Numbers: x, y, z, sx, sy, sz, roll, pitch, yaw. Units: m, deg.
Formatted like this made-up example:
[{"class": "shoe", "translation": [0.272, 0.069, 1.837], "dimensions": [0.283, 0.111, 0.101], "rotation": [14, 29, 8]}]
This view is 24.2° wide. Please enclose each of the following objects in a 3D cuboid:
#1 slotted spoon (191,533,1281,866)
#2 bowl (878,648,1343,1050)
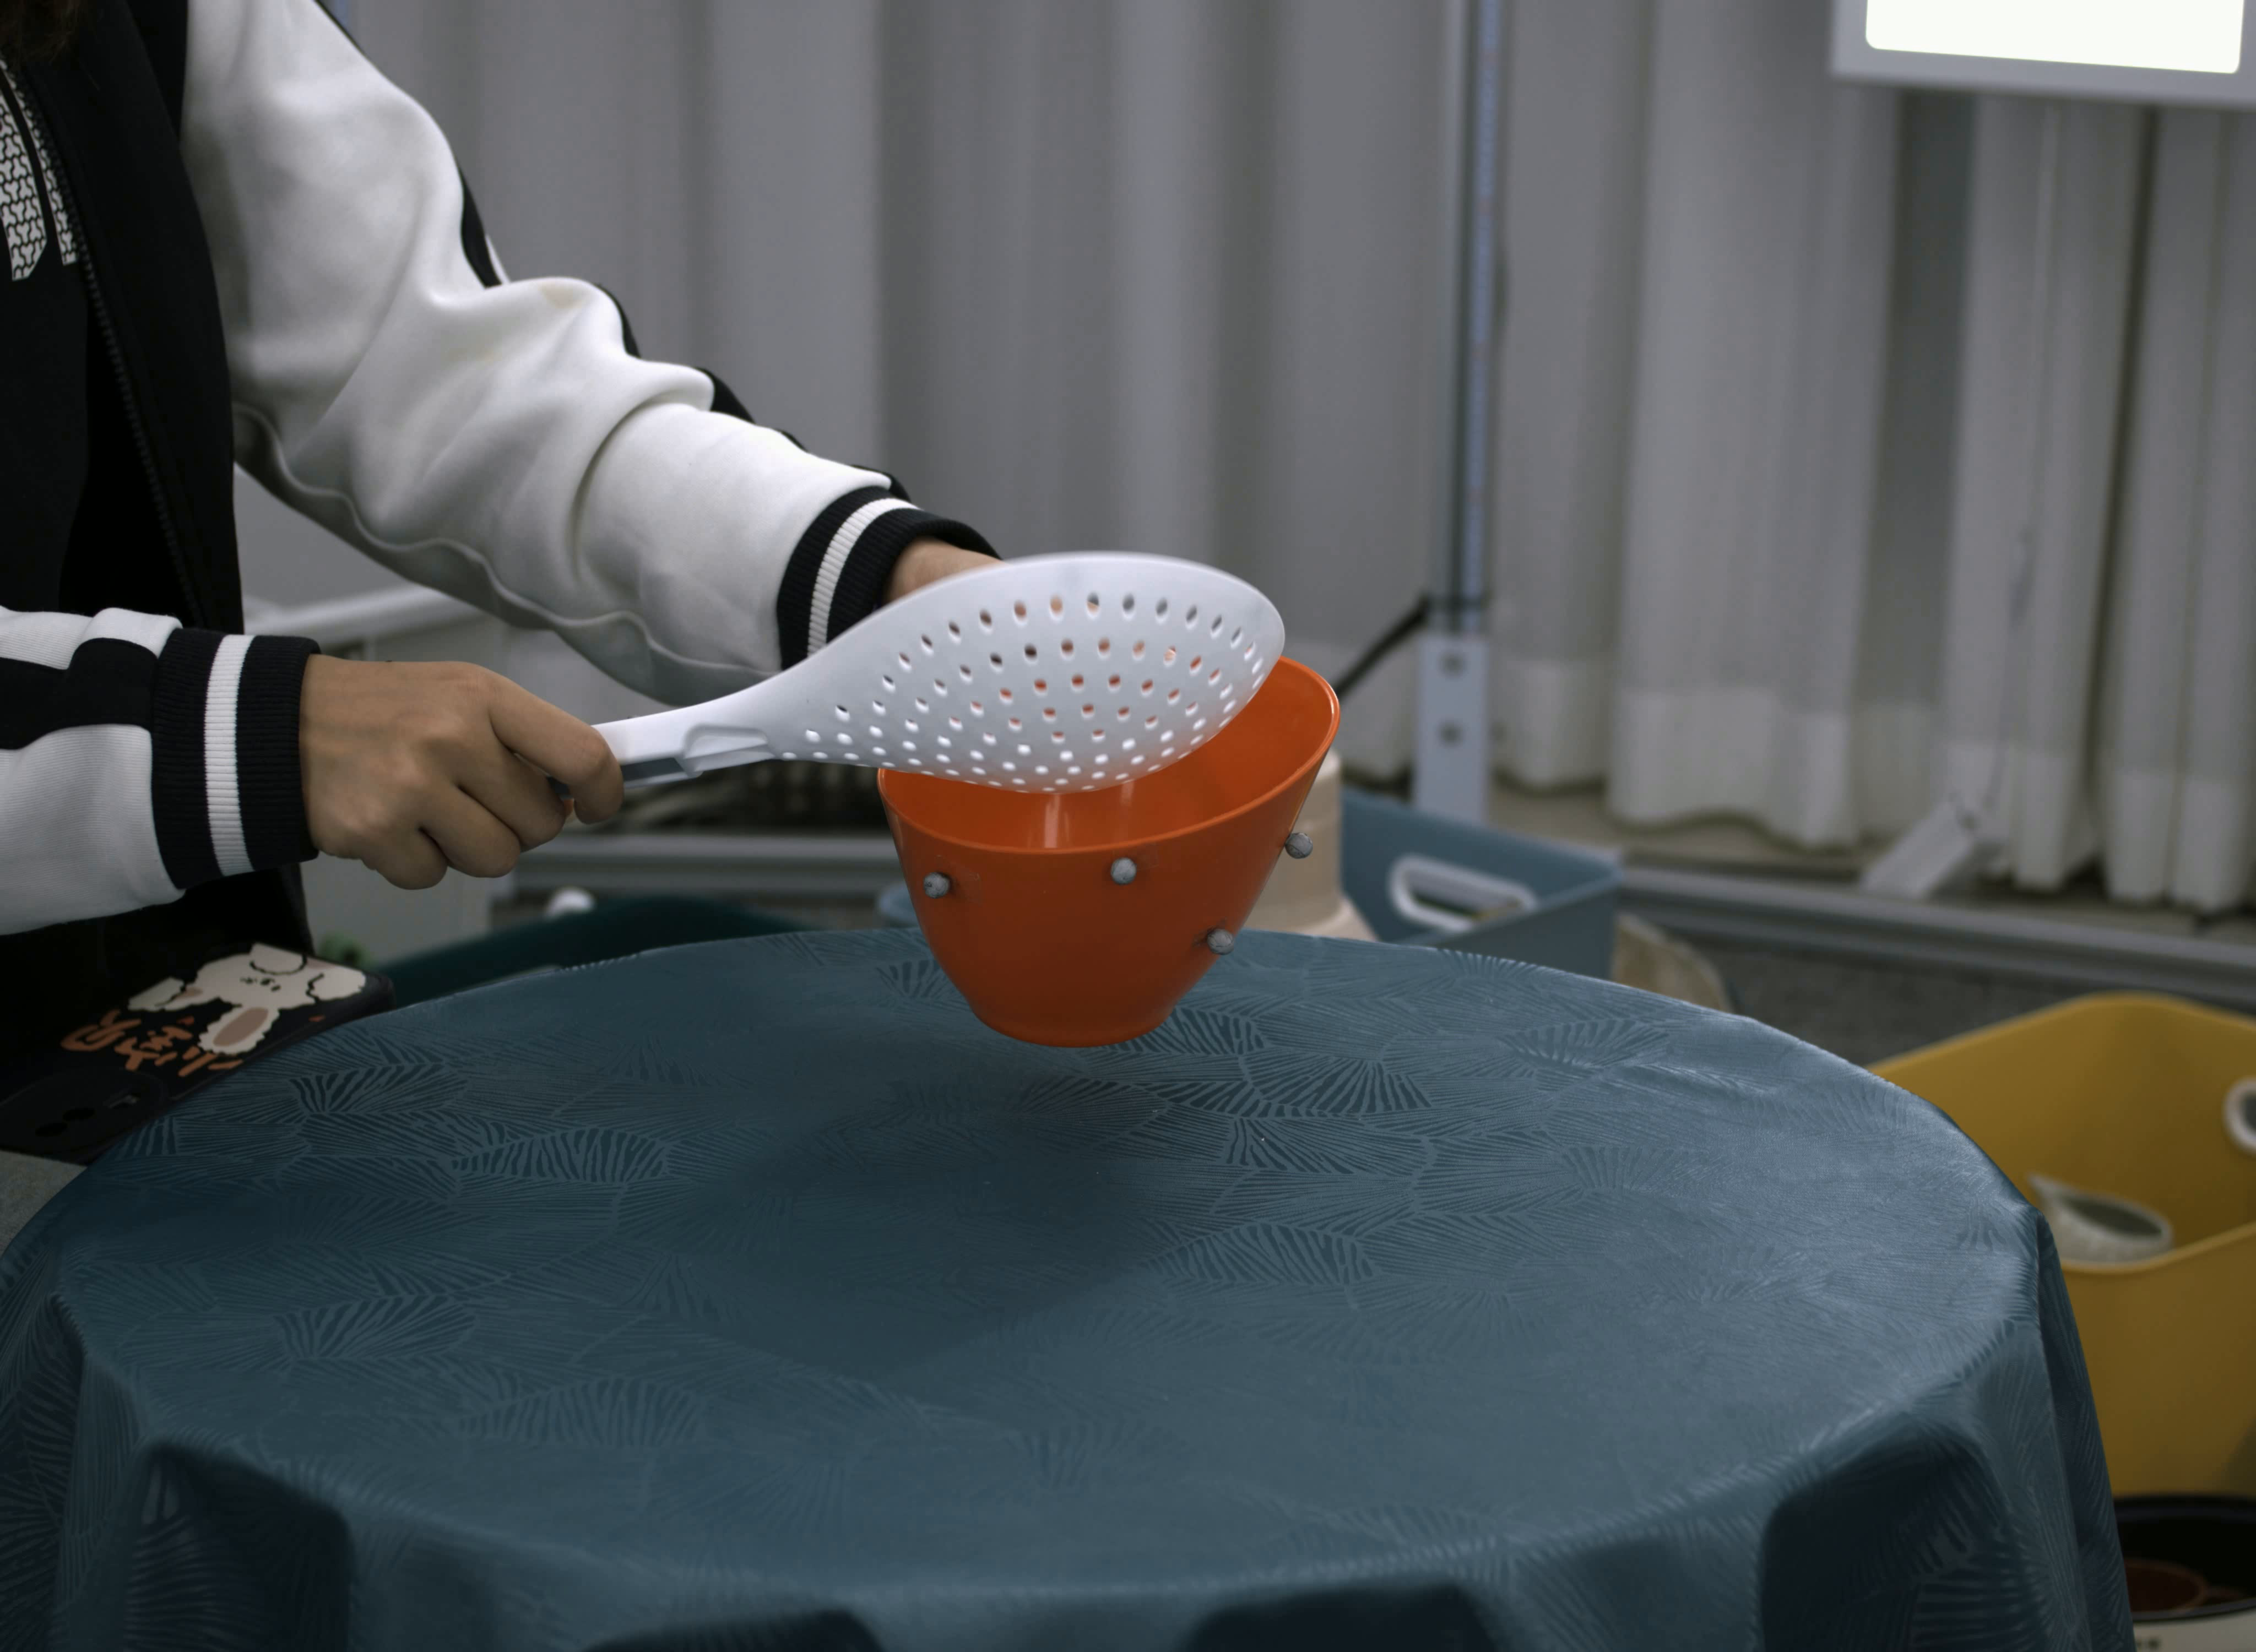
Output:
[{"class": "slotted spoon", "translation": [-0.124, -0.029, 1.632], "dimensions": [0.347, 0.045, 0.137], "rotation": [-6, -26, 11]}, {"class": "bowl", "translation": [-0.006, 0.011, 1.685], "dimensions": [0.147, 0.106, 0.147], "rotation": [1, 27, 0]}]
